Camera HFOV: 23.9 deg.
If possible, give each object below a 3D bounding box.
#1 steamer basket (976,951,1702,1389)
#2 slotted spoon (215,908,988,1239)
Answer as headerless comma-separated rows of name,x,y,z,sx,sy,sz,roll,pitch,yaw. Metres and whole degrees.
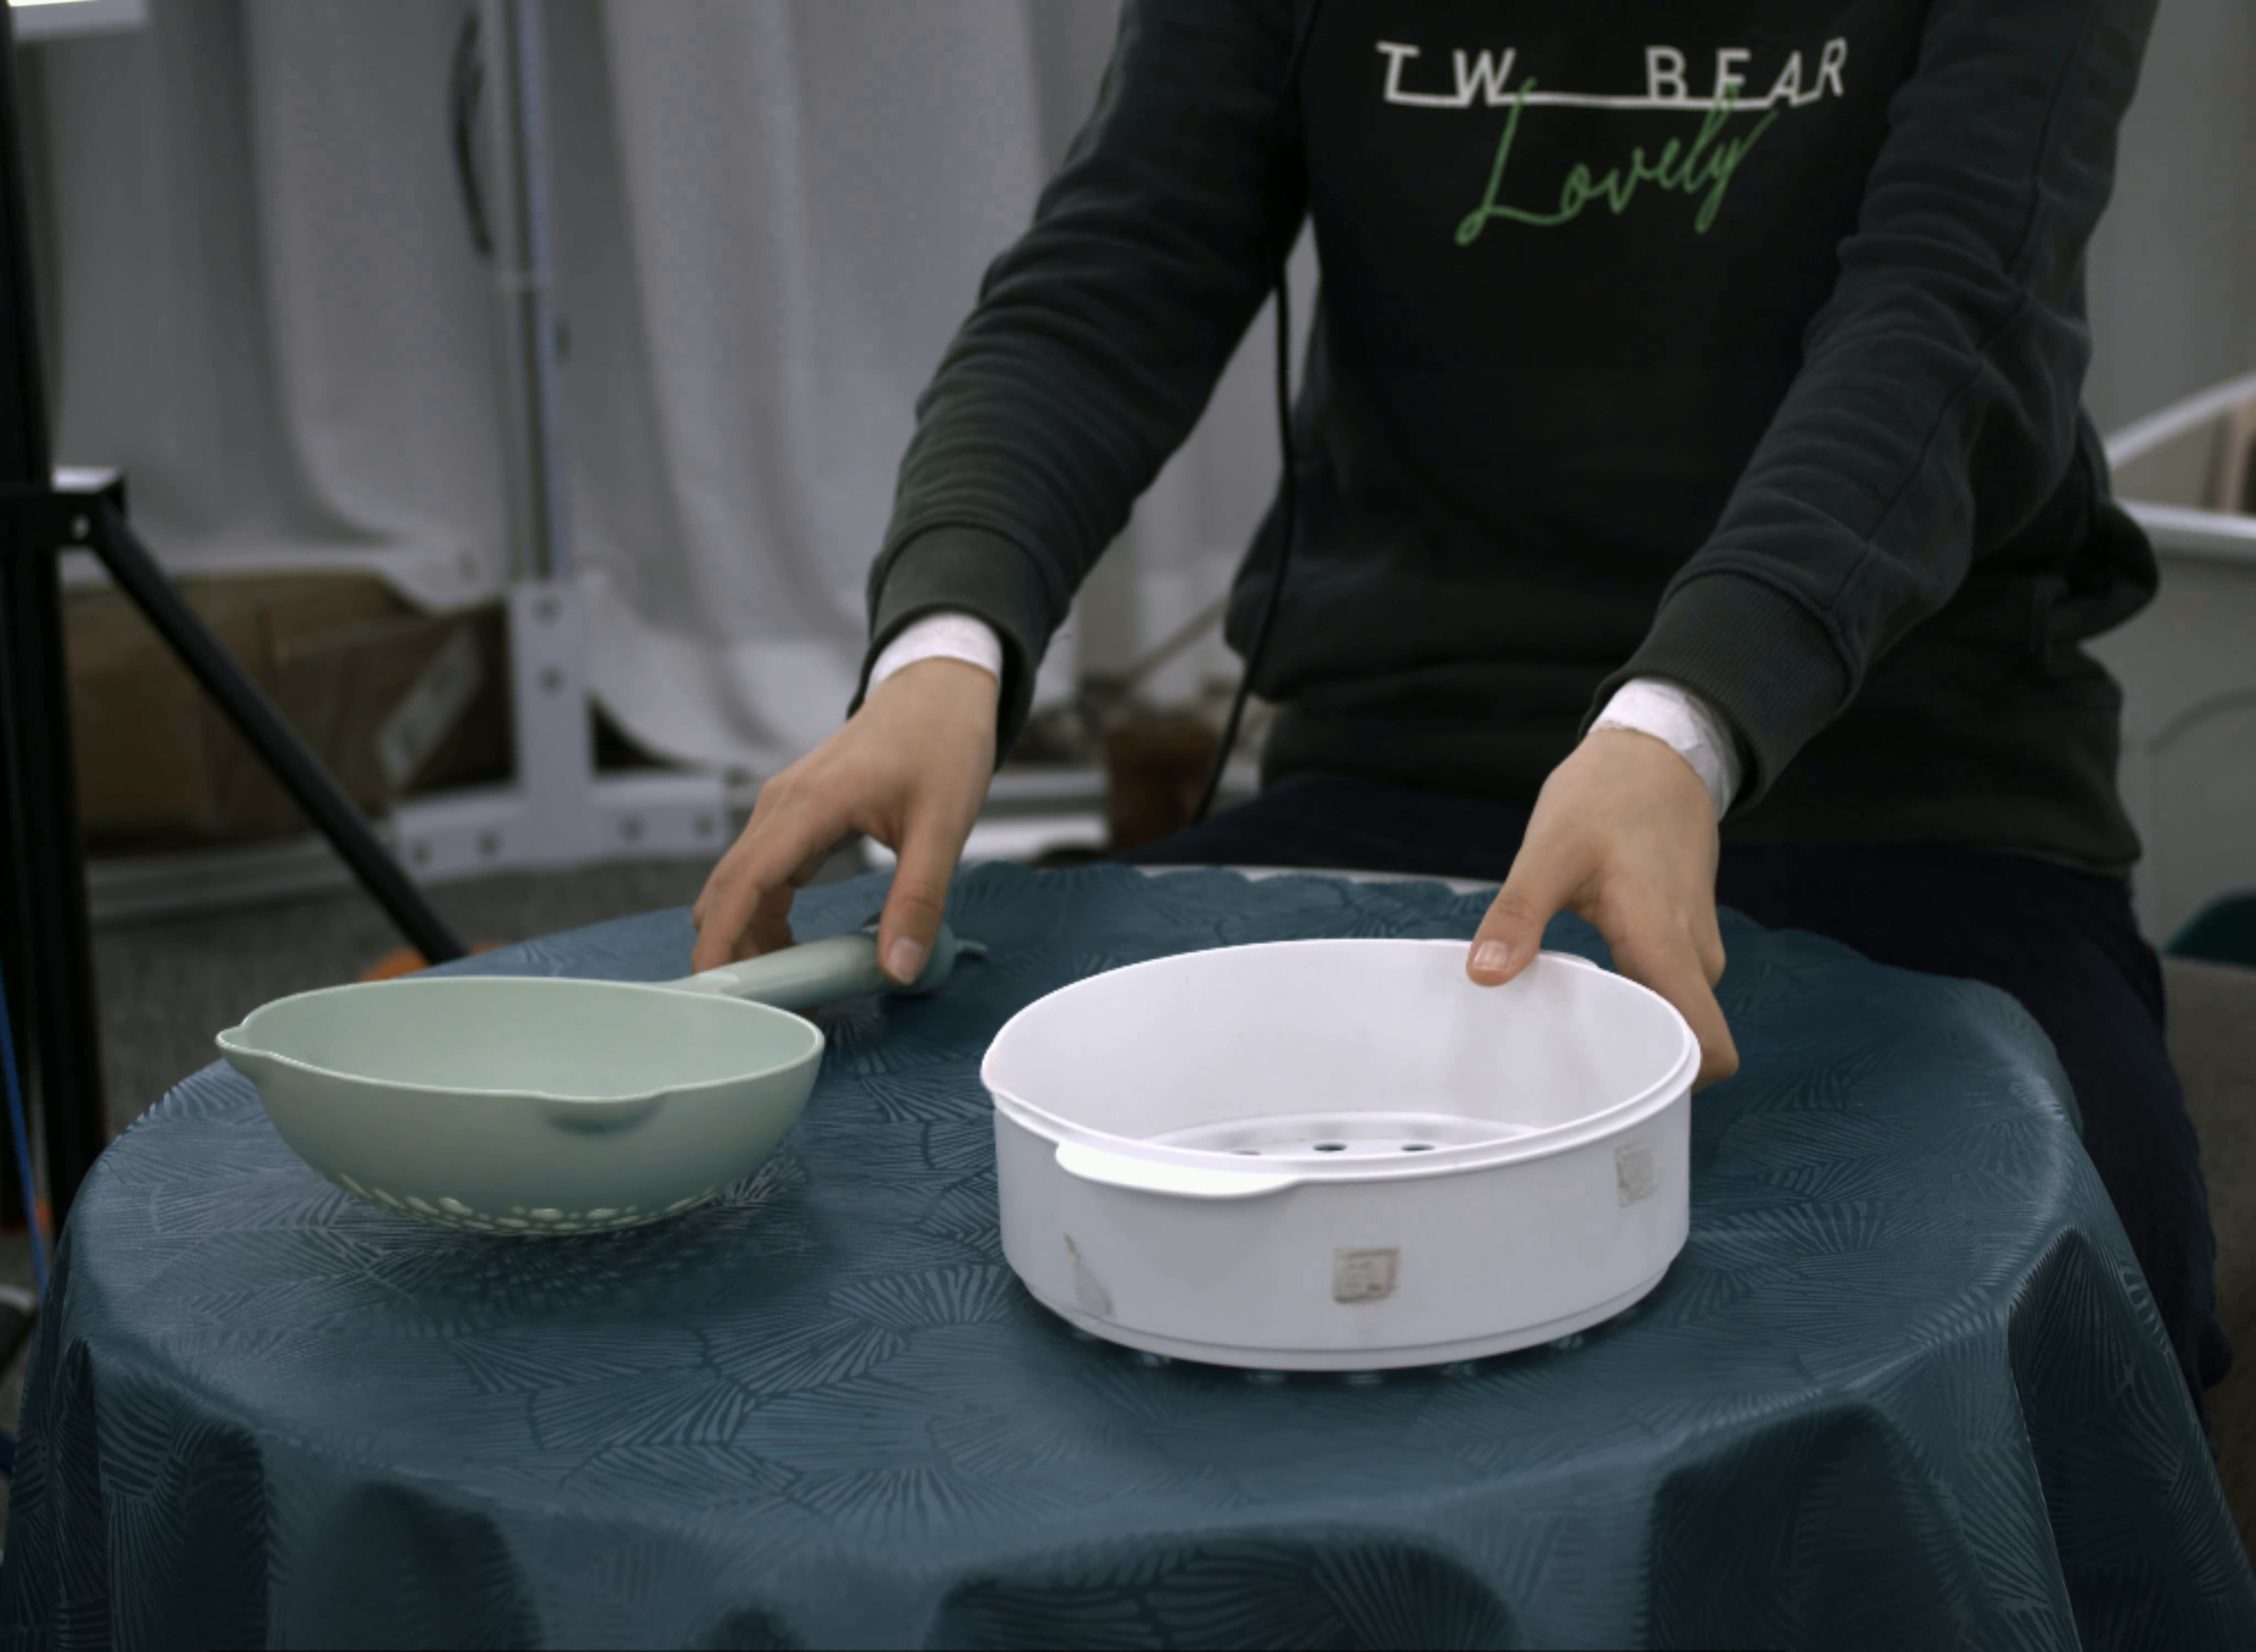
steamer basket,0.059,0.095,1.477,0.205,0.069,0.226,7,18,28
slotted spoon,-0.130,0.060,1.632,0.172,0.075,0.353,7,18,25
